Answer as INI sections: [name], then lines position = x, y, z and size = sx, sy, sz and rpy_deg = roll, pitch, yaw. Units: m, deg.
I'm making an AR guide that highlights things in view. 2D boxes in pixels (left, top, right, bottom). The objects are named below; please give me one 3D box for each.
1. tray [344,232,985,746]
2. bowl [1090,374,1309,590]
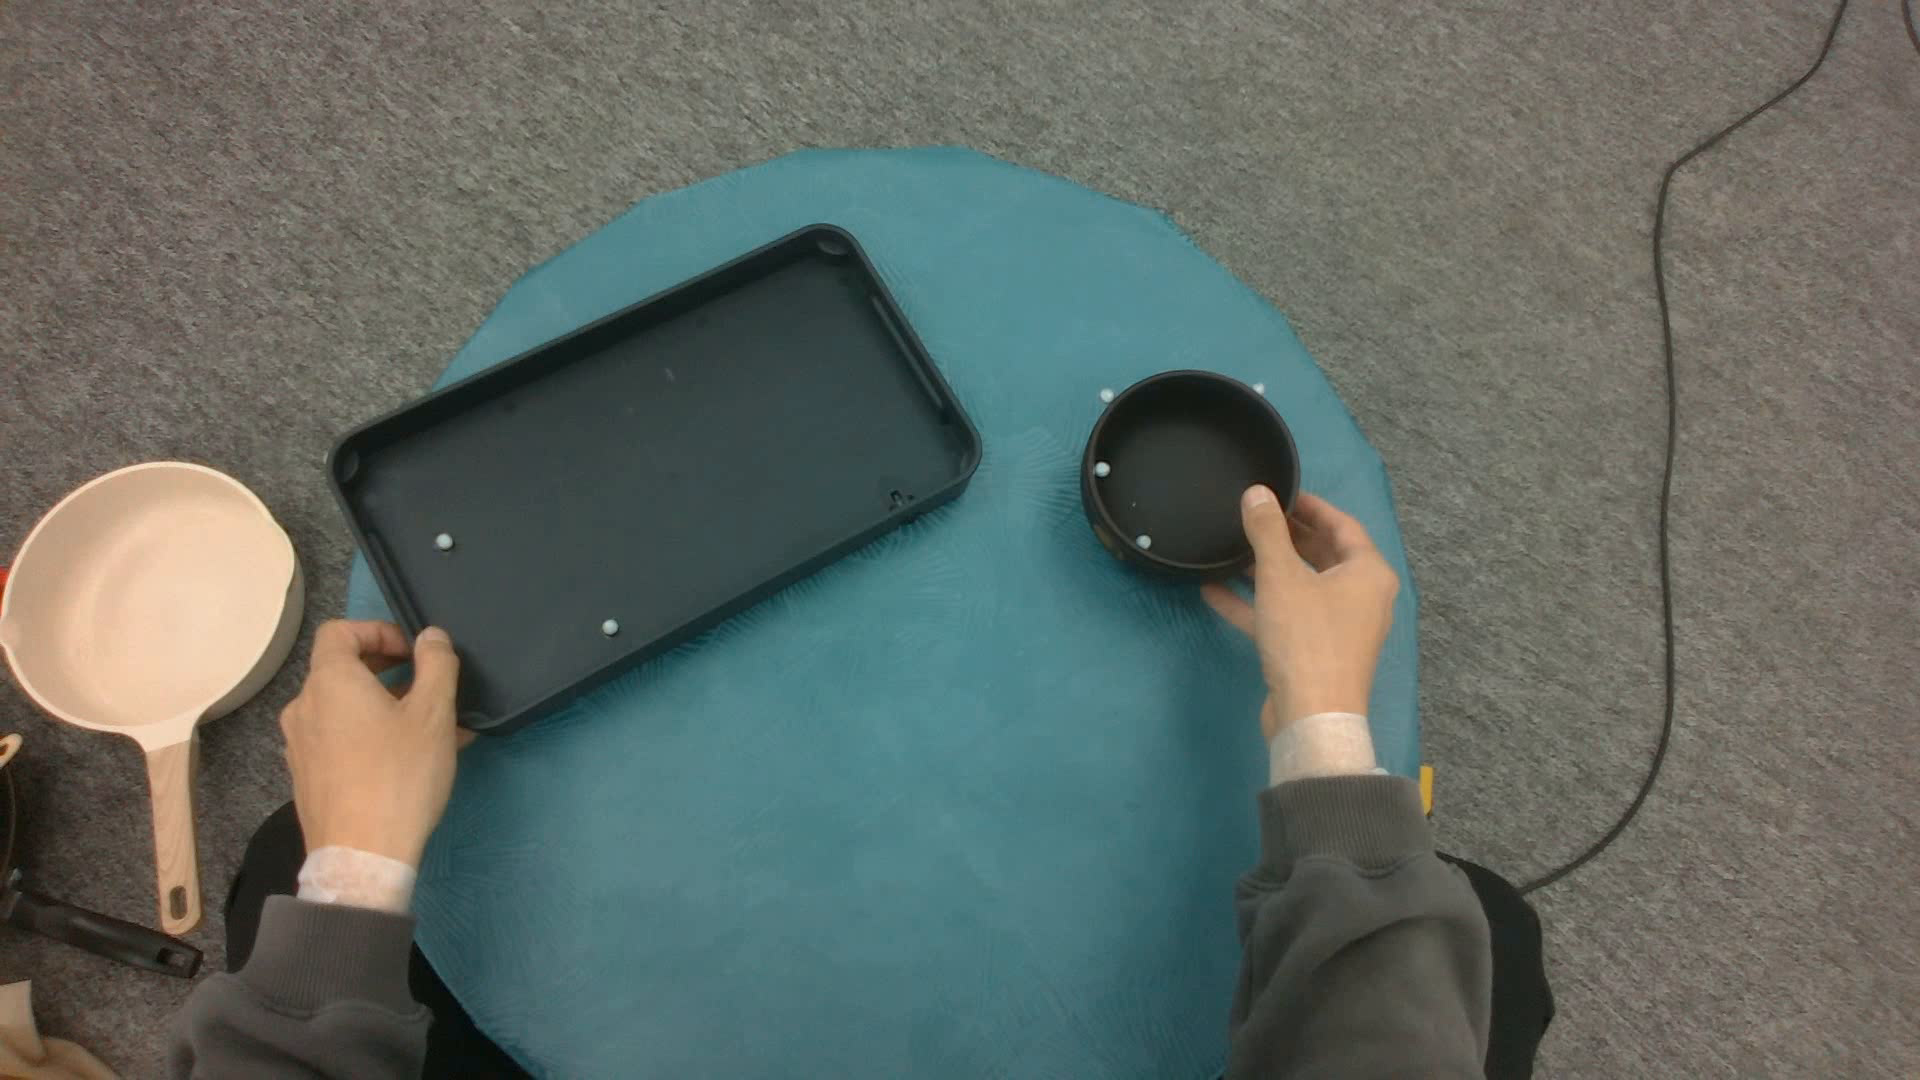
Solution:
[tray]
position = -0.160, -0.035, 0.777
size = 0.319, 0.037, 0.184
rpy_deg = -30, 77, -15
[bowl]
position = 0.131, -0.028, 0.774
size = 0.118, 0.069, 0.118
rpy_deg = 1, 74, -2
